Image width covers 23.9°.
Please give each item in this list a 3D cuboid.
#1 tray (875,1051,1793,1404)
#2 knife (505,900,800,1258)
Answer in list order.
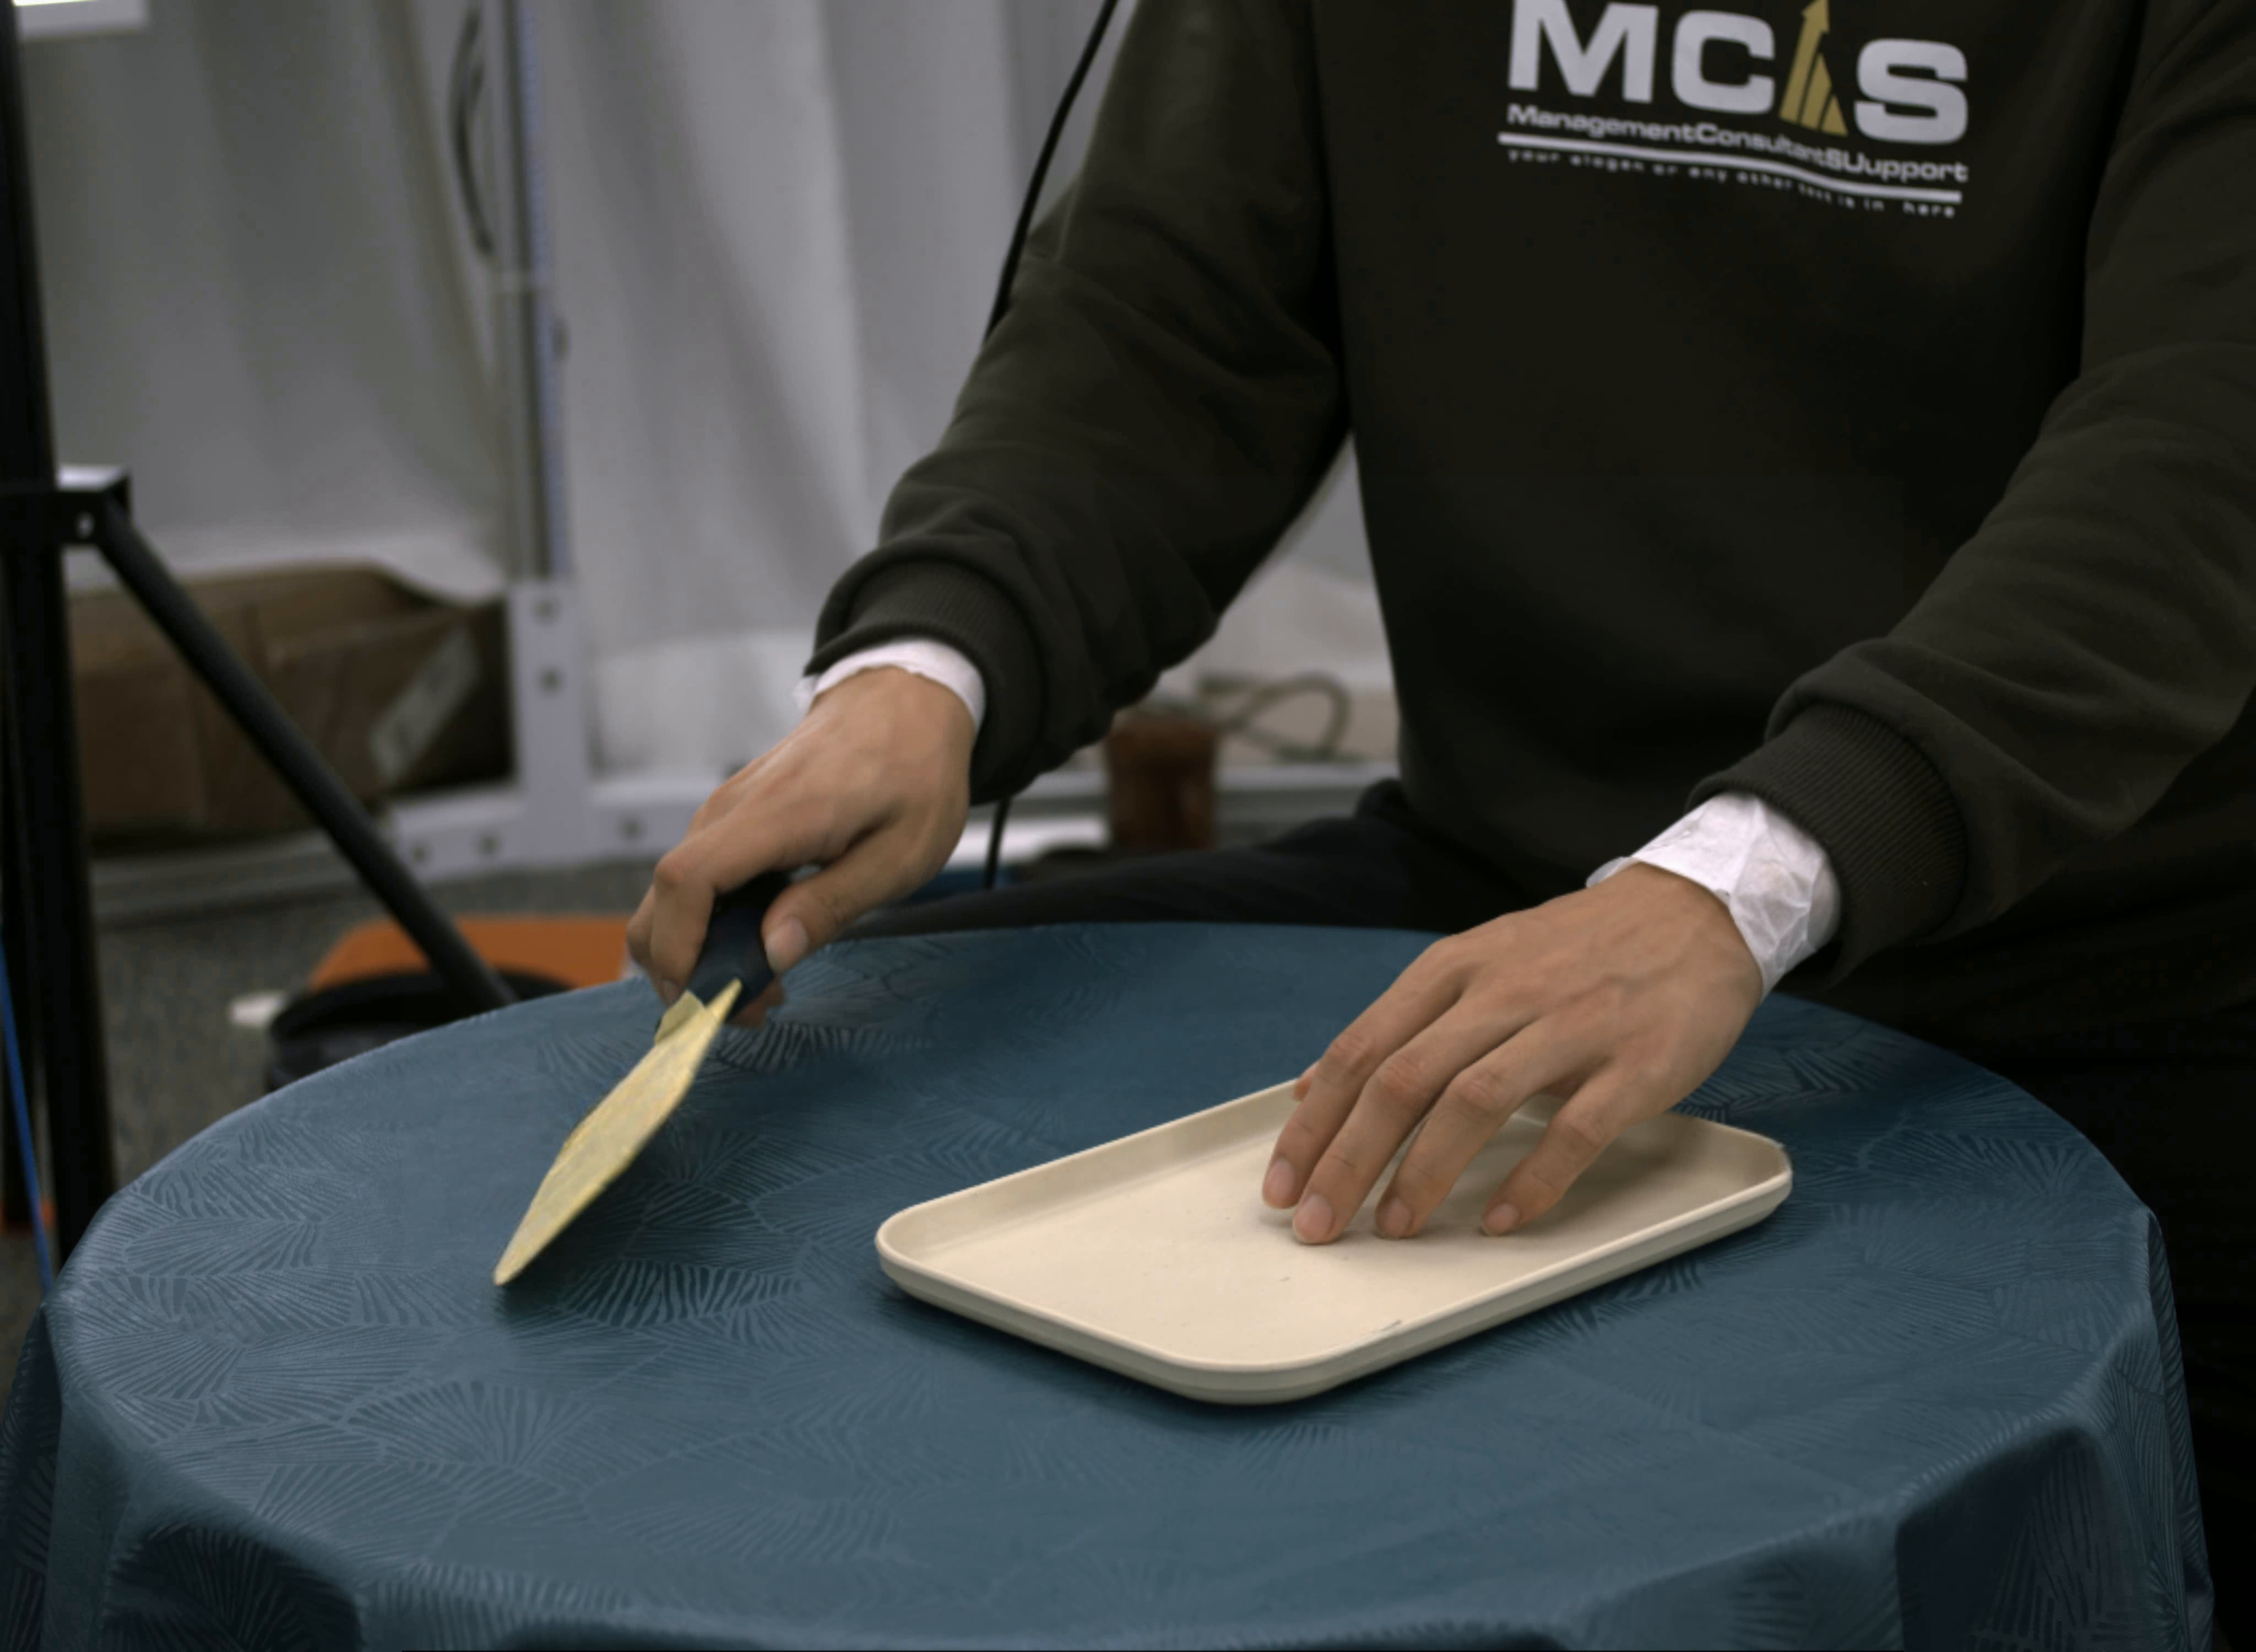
[{"bbox_3d":[0.060,0.112,1.504,0.234,0.017,0.175,-16,20,-39],"label":"tray"},{"bbox_3d":[-0.142,0.075,1.619,0.081,0.027,0.289,-35,9,15],"label":"knife"}]
